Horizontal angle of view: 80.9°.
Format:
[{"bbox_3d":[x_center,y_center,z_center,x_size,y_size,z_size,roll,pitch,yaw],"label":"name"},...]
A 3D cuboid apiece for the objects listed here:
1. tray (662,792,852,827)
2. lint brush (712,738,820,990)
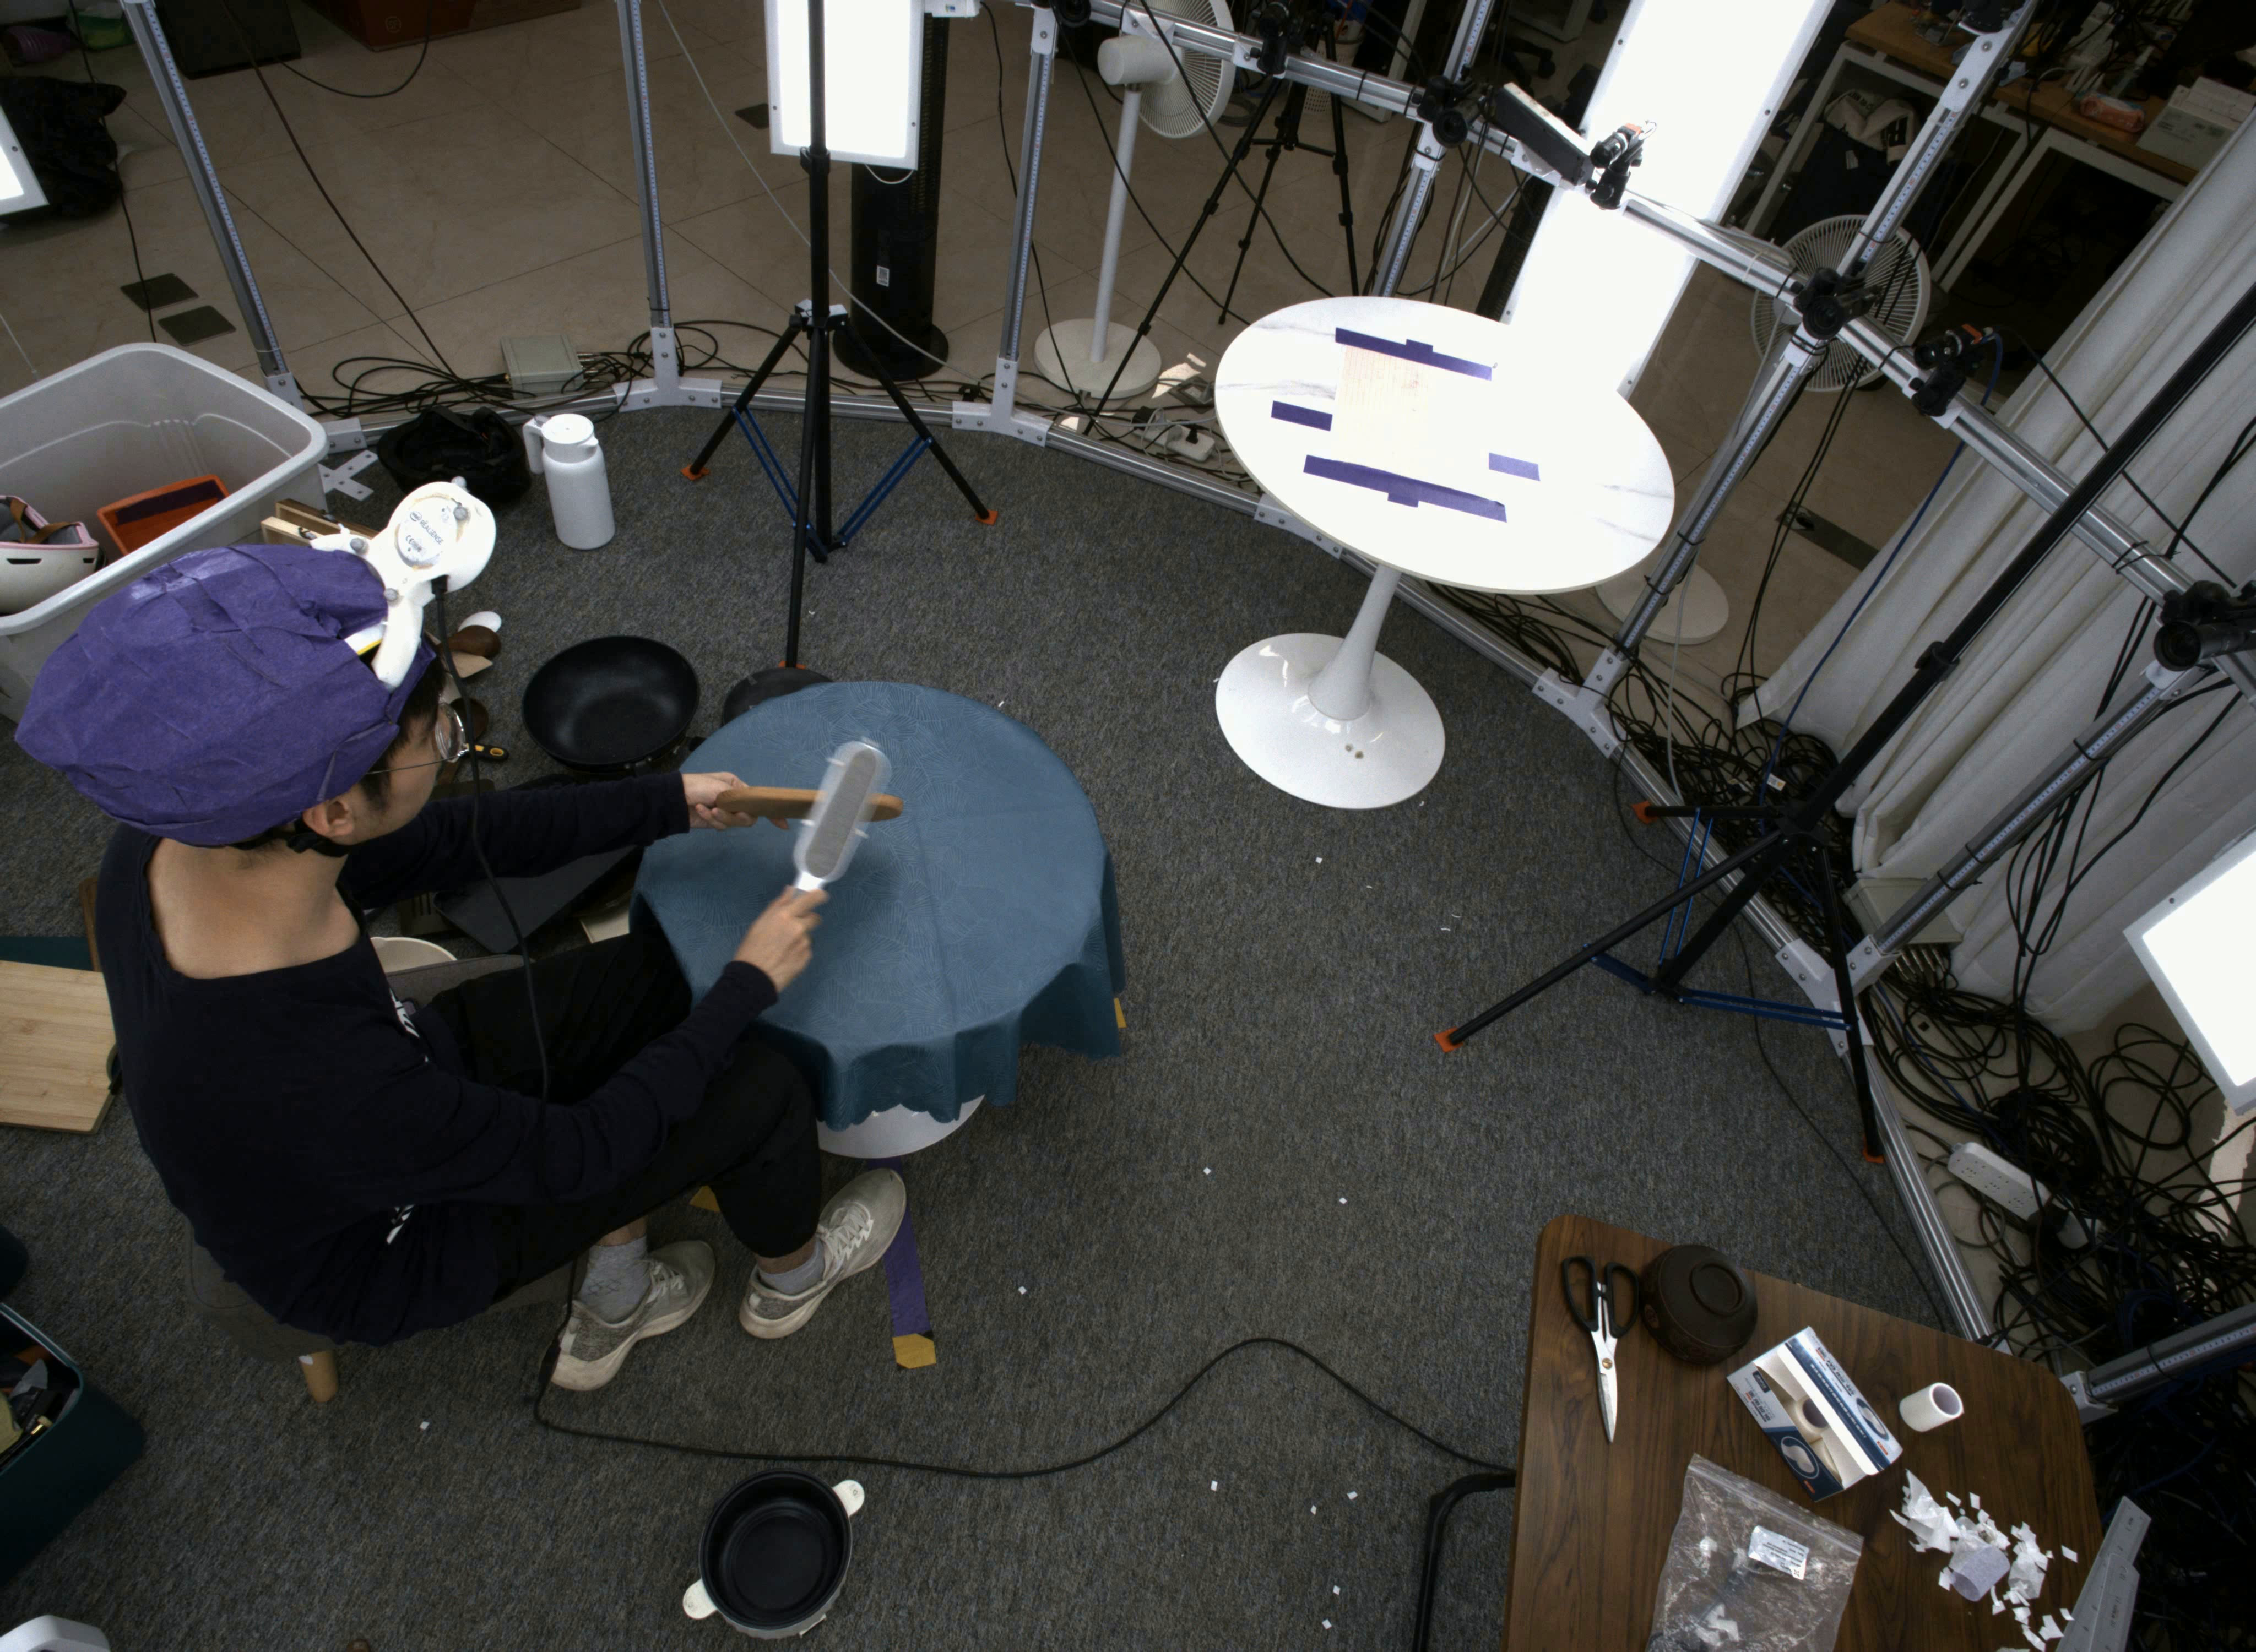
[{"bbox_3d":[-0.455,-0.020,1.593,0.234,0.100,0.020,-2,73,-29],"label":"tray"},{"bbox_3d":[-0.433,0.041,1.530,0.061,0.020,0.309,24,74,-31],"label":"lint brush"}]
